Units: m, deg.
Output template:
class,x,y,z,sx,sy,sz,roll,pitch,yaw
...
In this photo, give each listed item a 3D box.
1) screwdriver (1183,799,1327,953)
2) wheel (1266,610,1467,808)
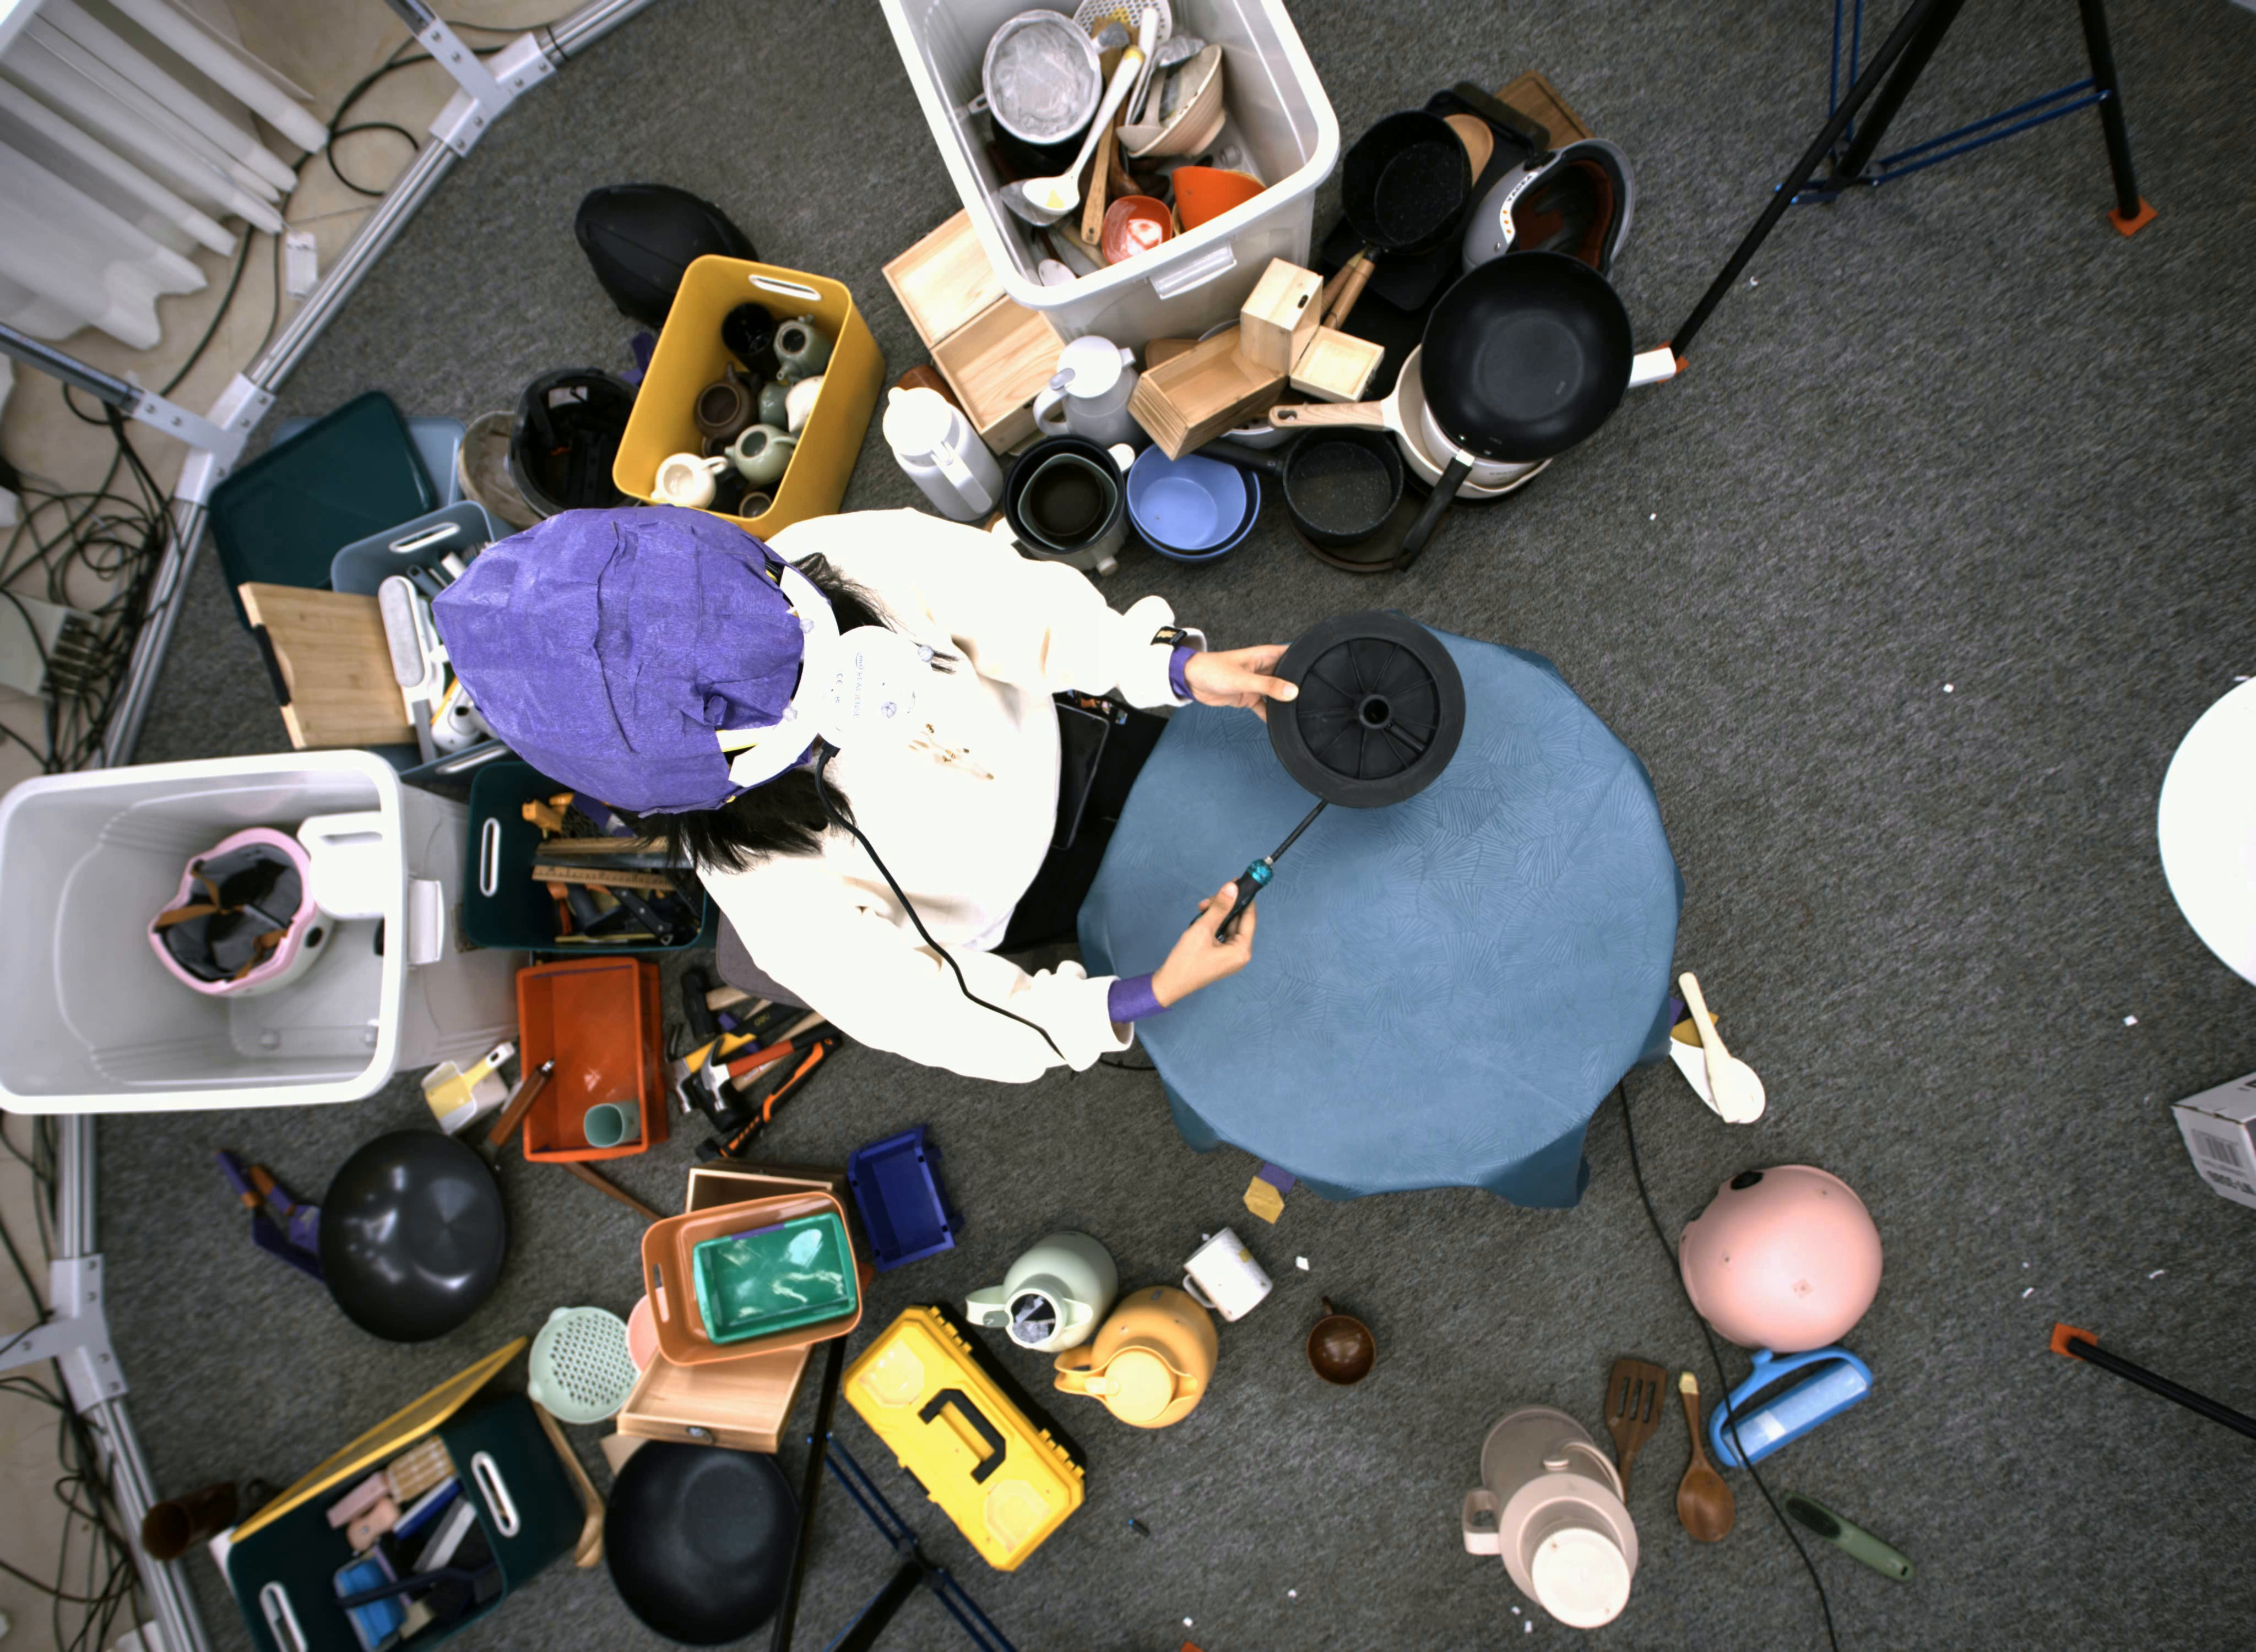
class,x,y,z,sx,sy,sz,roll,pitch,yaw
screwdriver,0.122,0.044,1.319,0.033,0.033,0.191,43,97,11
wheel,0.226,-0.109,1.281,0.190,0.078,0.189,11,99,-3
